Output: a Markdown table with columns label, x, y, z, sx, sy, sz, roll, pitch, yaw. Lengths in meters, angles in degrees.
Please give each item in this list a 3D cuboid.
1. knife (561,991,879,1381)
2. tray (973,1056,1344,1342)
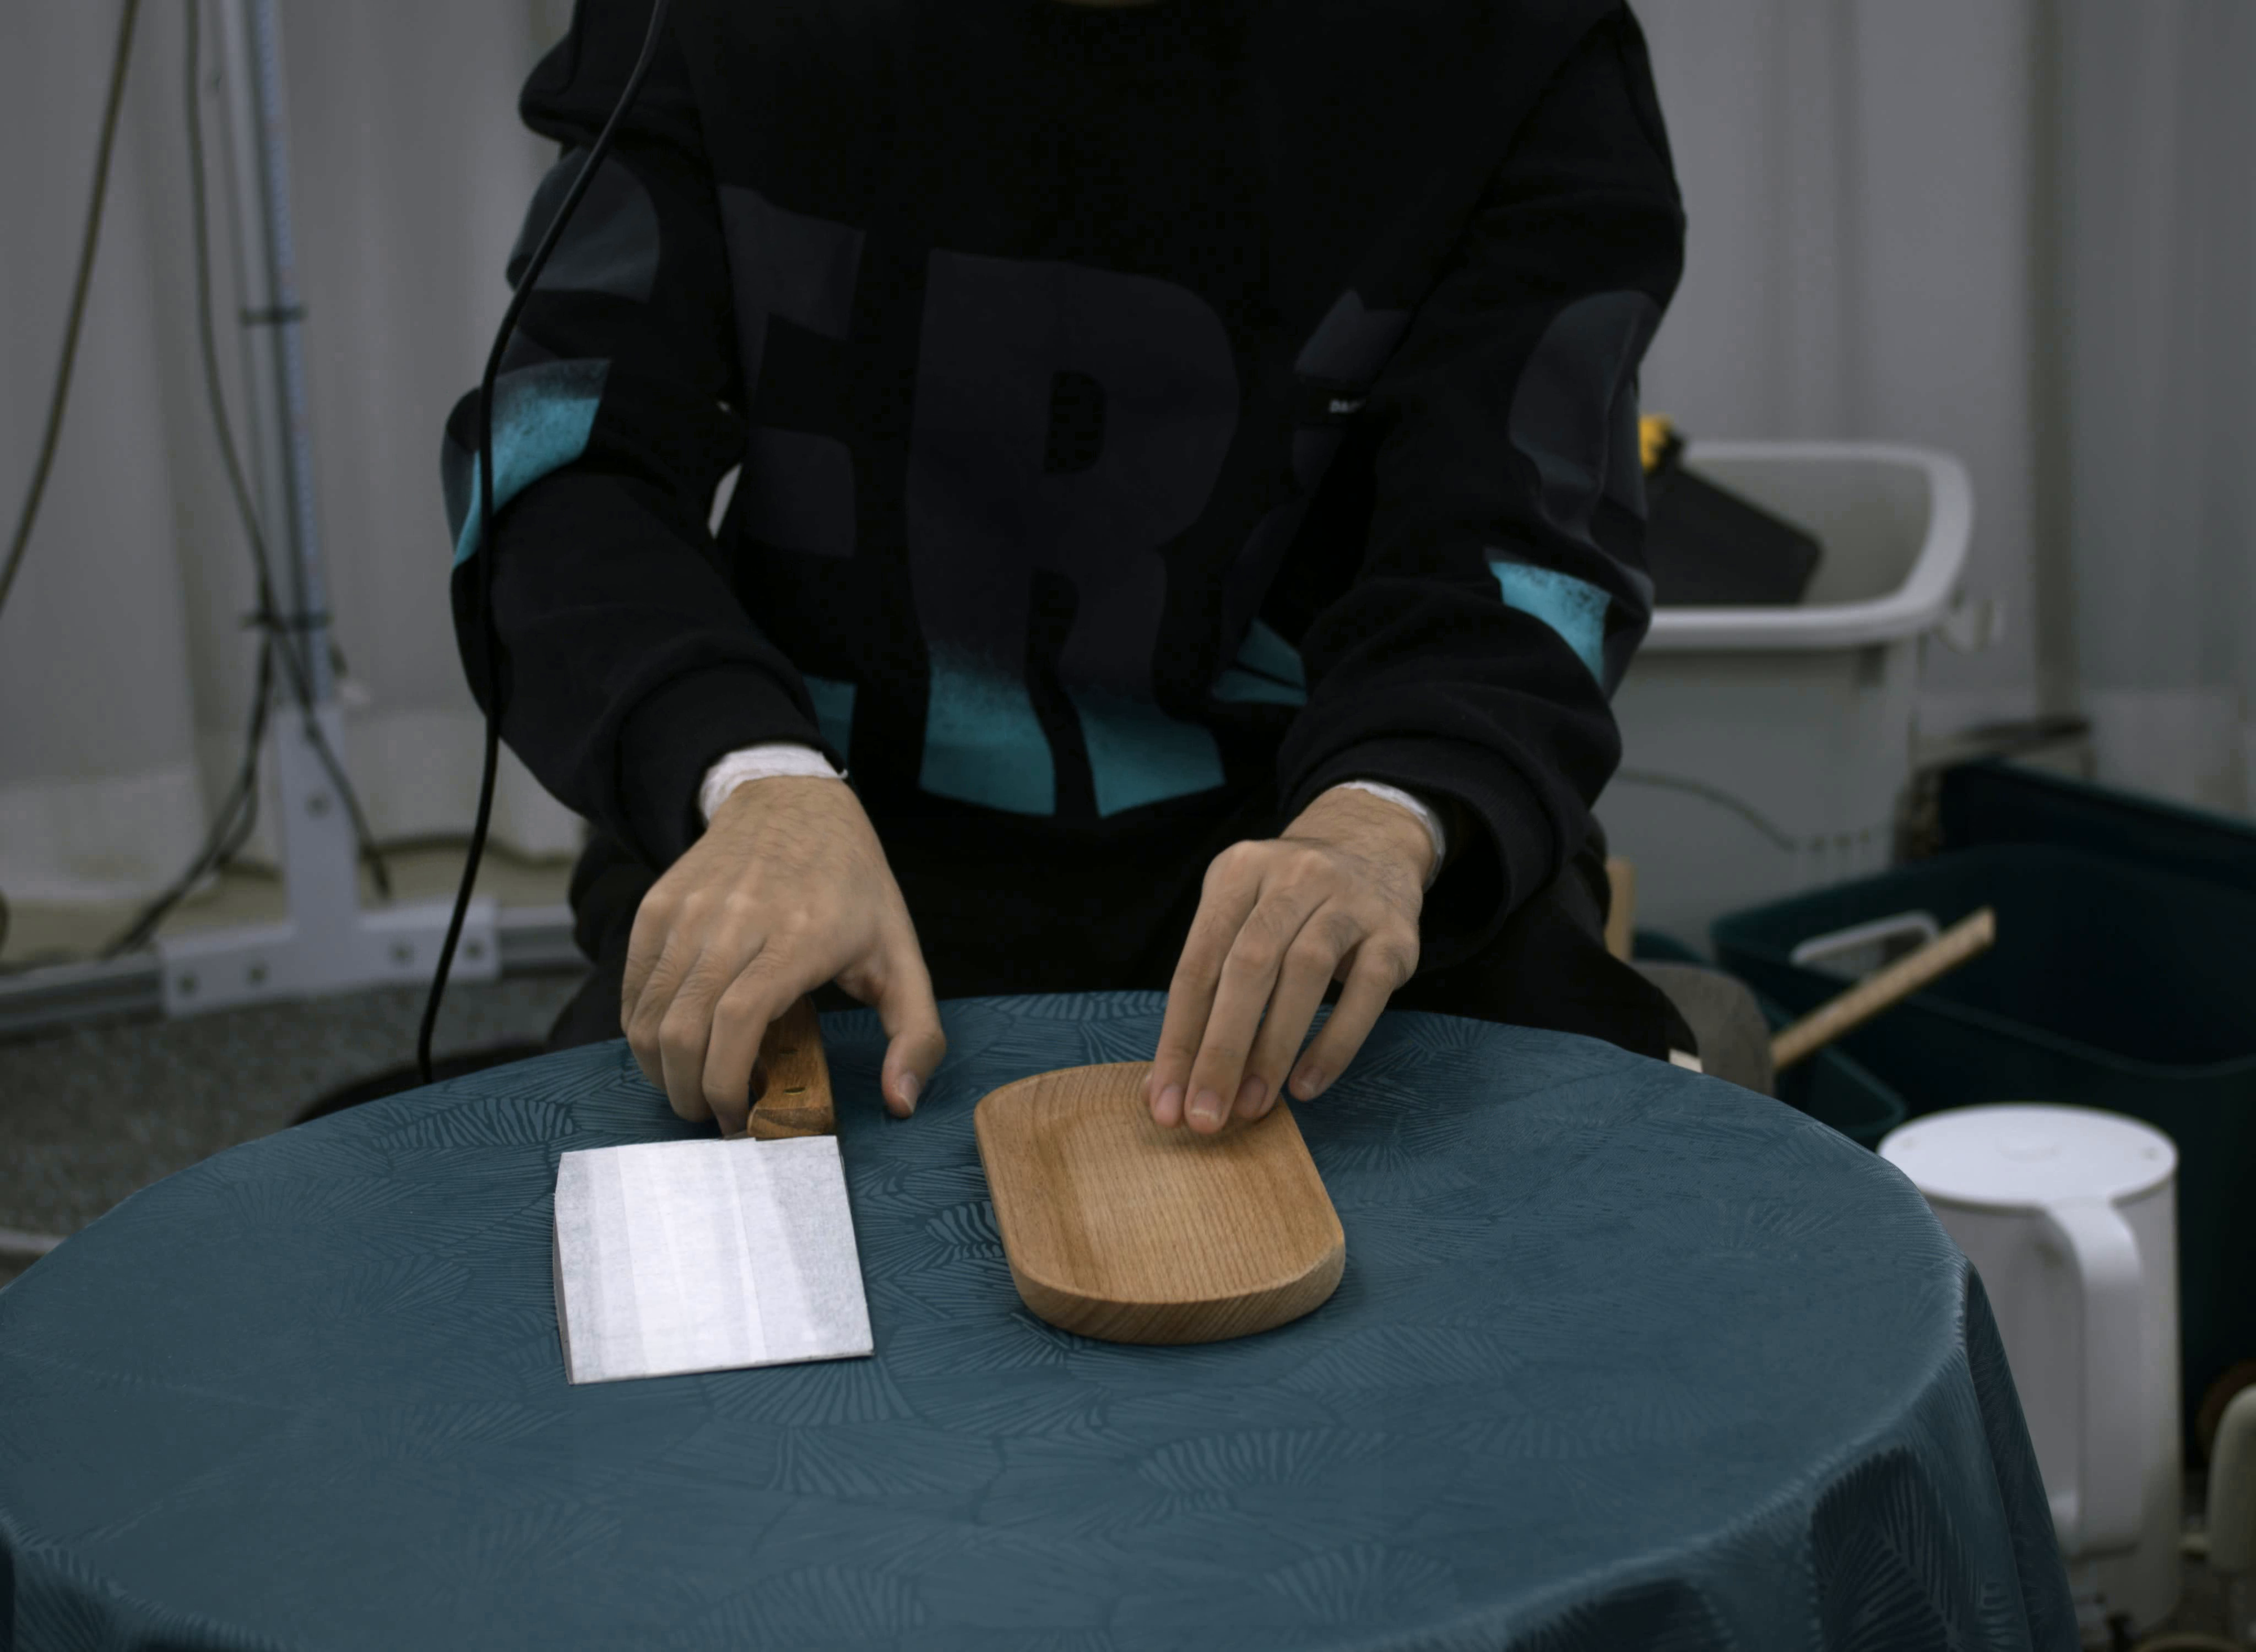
| label | x | y | z | sx | sy | sz | roll | pitch | yaw |
| --- | --- | --- | --- | --- | --- | --- | --- | --- | --- |
| knife | -0.132 | 0.112 | 1.722 | 0.092 | 0.021 | 0.308 | -6 | 18 | -5 |
| tray | 0.008 | 0.113 | 1.688 | 0.101 | 0.020 | 0.233 | -3 | 14 | -5 |
